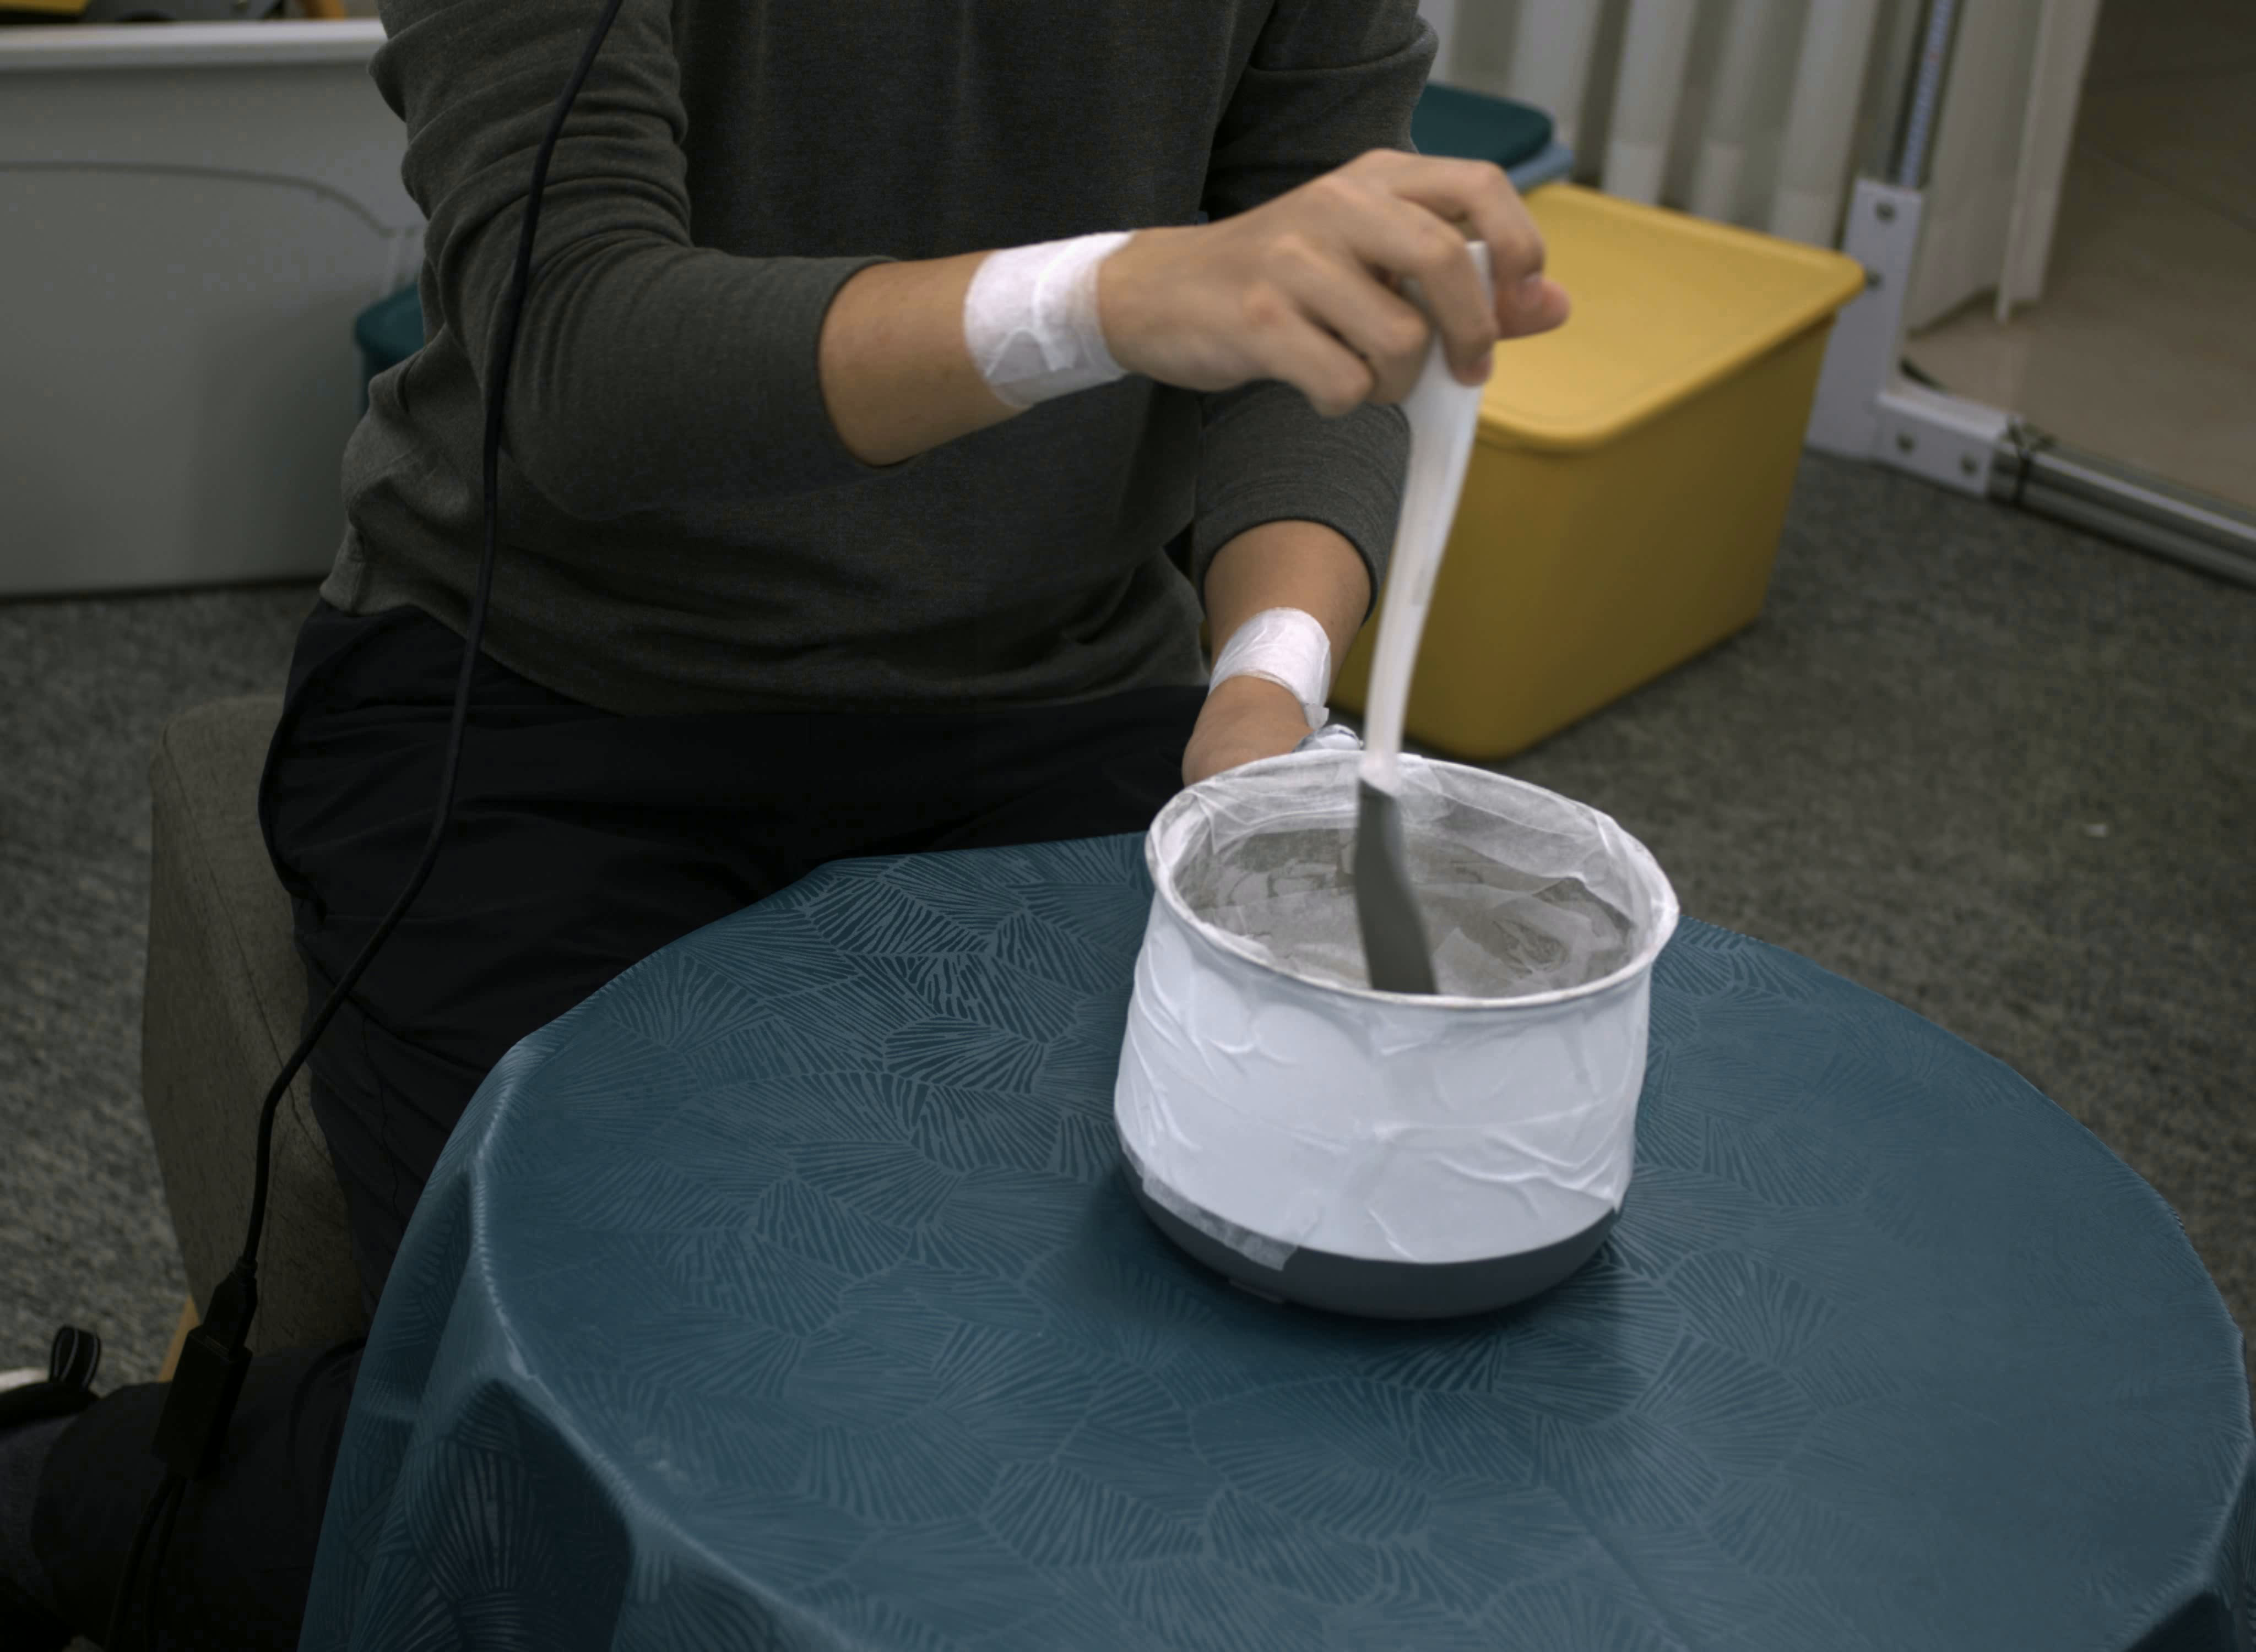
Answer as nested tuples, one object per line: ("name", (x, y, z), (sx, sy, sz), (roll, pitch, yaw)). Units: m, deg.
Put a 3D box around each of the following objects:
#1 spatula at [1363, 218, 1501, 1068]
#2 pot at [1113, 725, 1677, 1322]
("spatula", (0.094, -0.049, 1.687), (0.032, 0.287, 0.059), (-8, 21, -25))
("pot", (0.080, 0.059, 1.801), (0.178, 0.136, 0.235), (-1, 27, -15))
